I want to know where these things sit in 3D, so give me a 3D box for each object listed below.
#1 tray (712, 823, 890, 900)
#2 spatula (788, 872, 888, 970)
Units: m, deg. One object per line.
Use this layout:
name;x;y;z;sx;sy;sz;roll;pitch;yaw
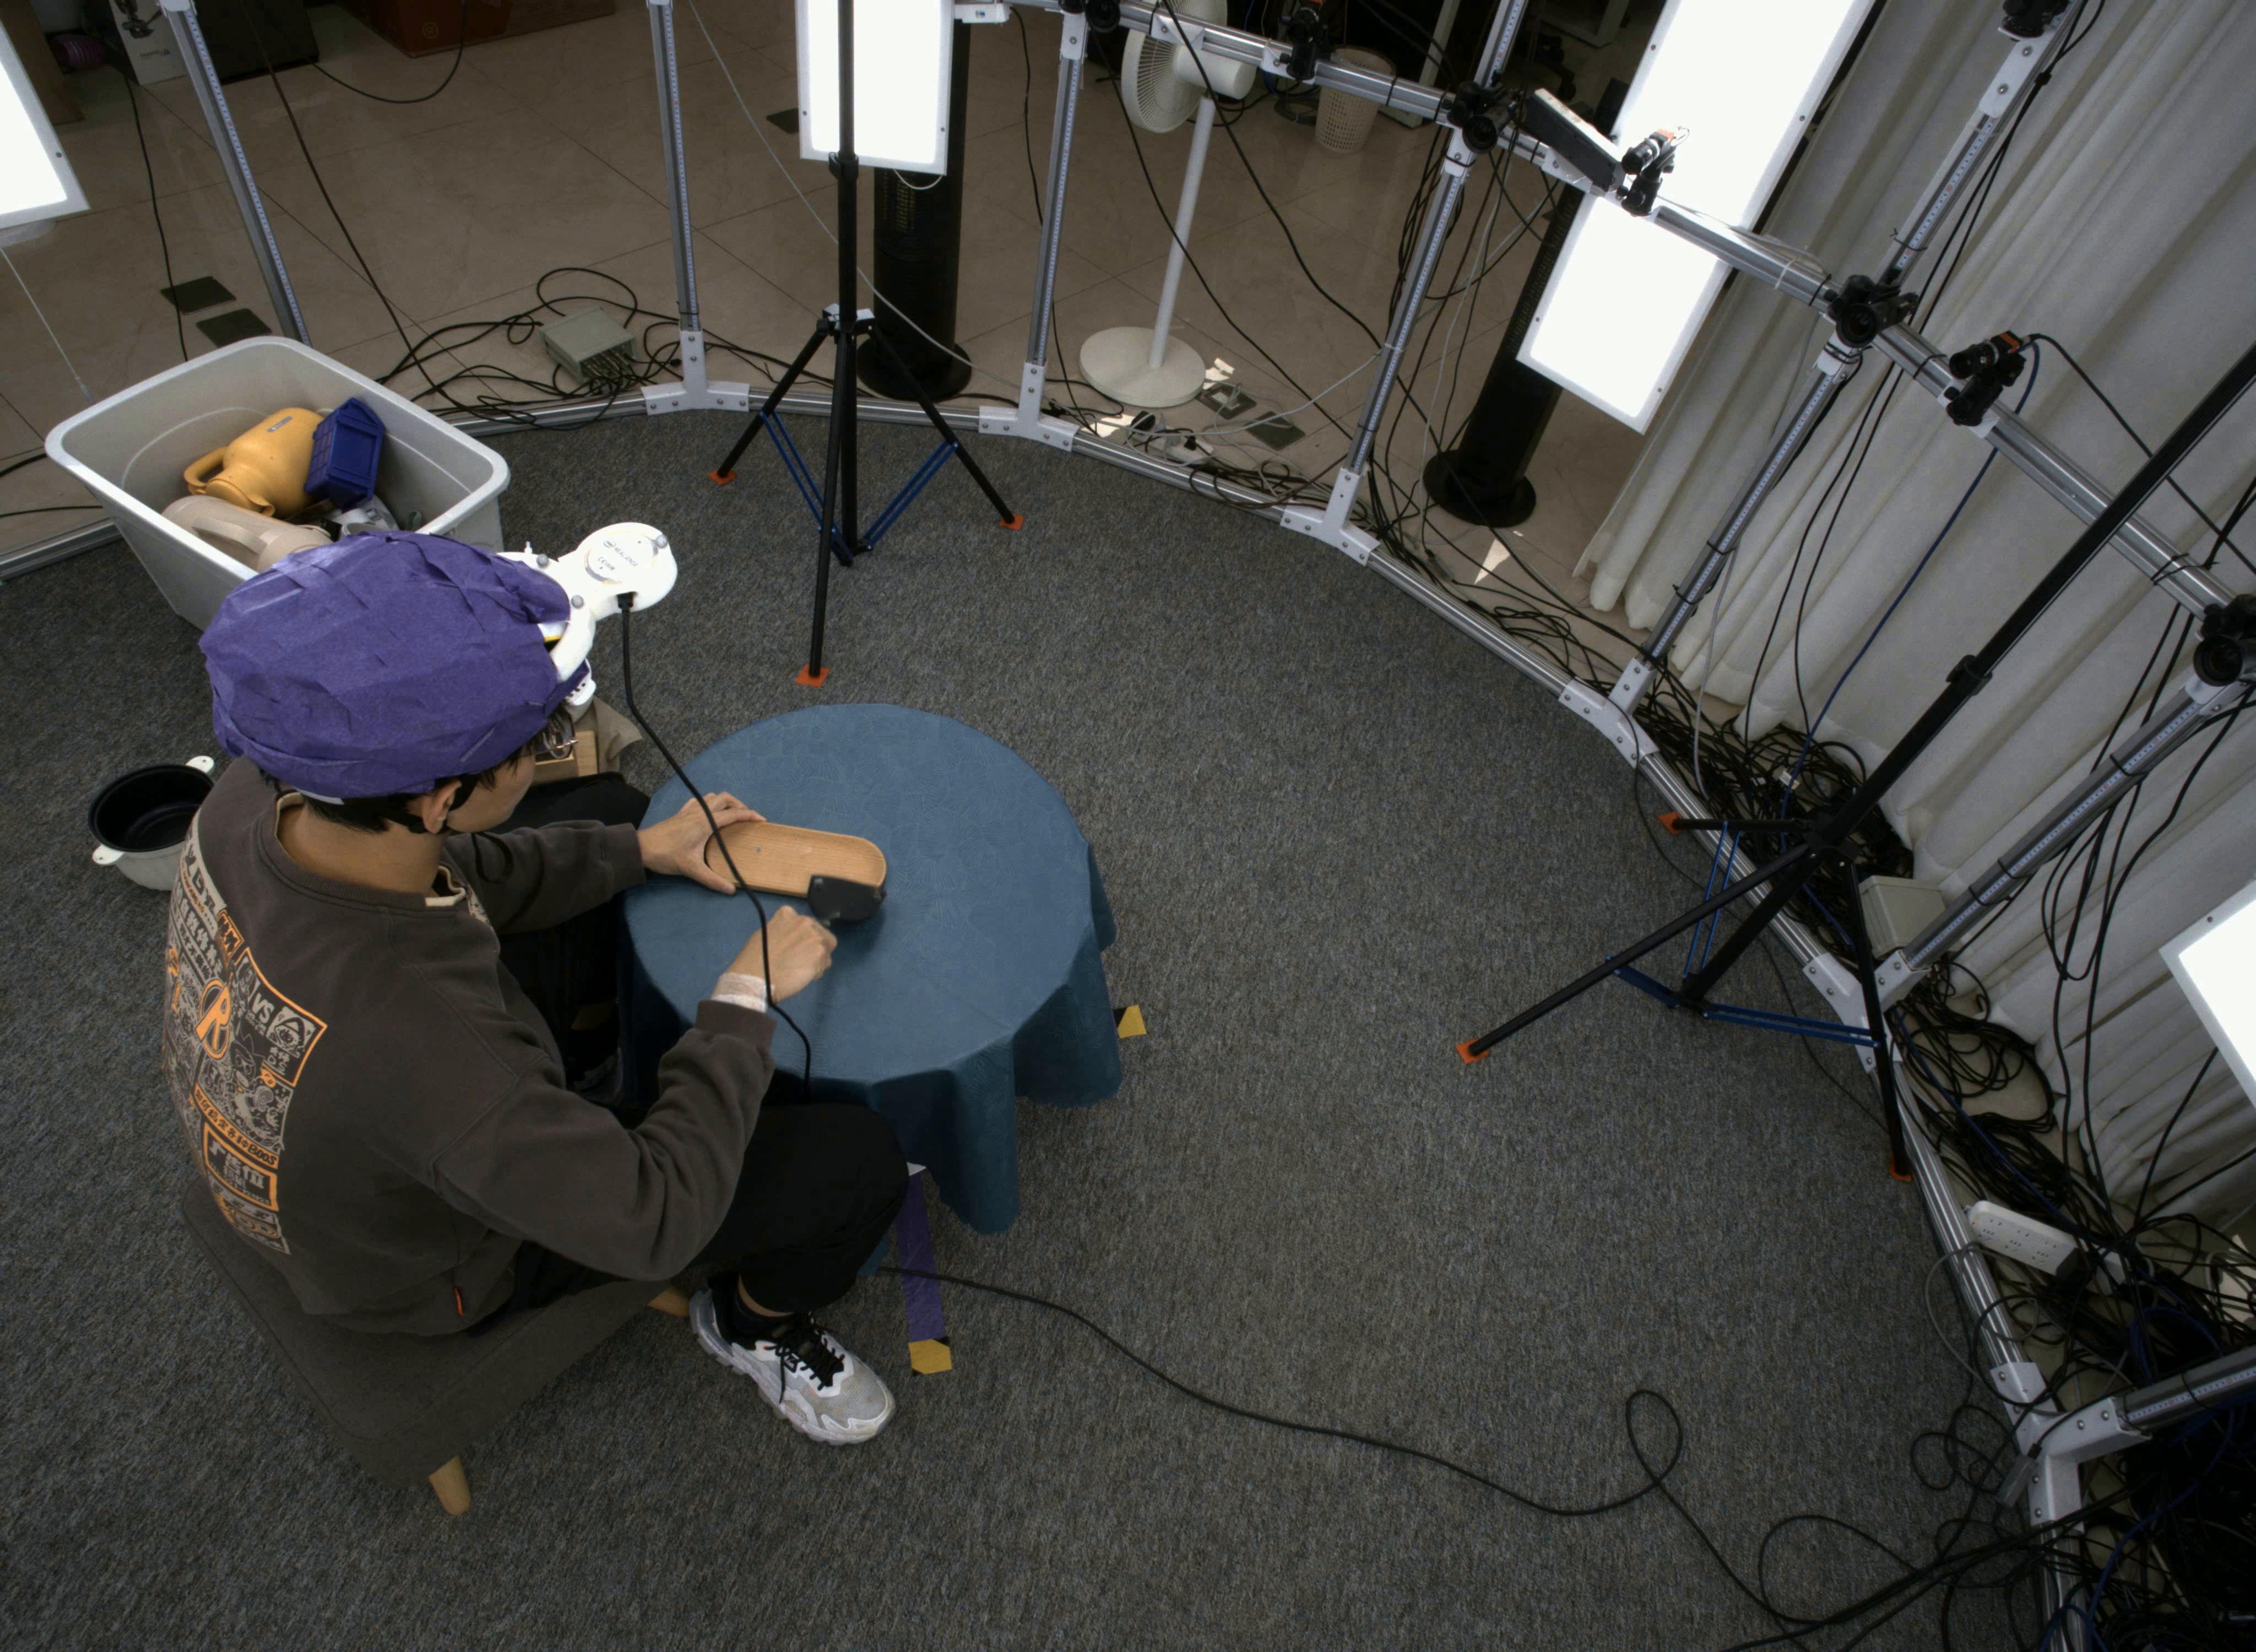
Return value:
tray;-0.426;0.049;1.691;0.231;0.020;0.100;10;54;-9
spatula;-0.354;0.109;1.519;0.099;0.041;0.322;13;8;-4
